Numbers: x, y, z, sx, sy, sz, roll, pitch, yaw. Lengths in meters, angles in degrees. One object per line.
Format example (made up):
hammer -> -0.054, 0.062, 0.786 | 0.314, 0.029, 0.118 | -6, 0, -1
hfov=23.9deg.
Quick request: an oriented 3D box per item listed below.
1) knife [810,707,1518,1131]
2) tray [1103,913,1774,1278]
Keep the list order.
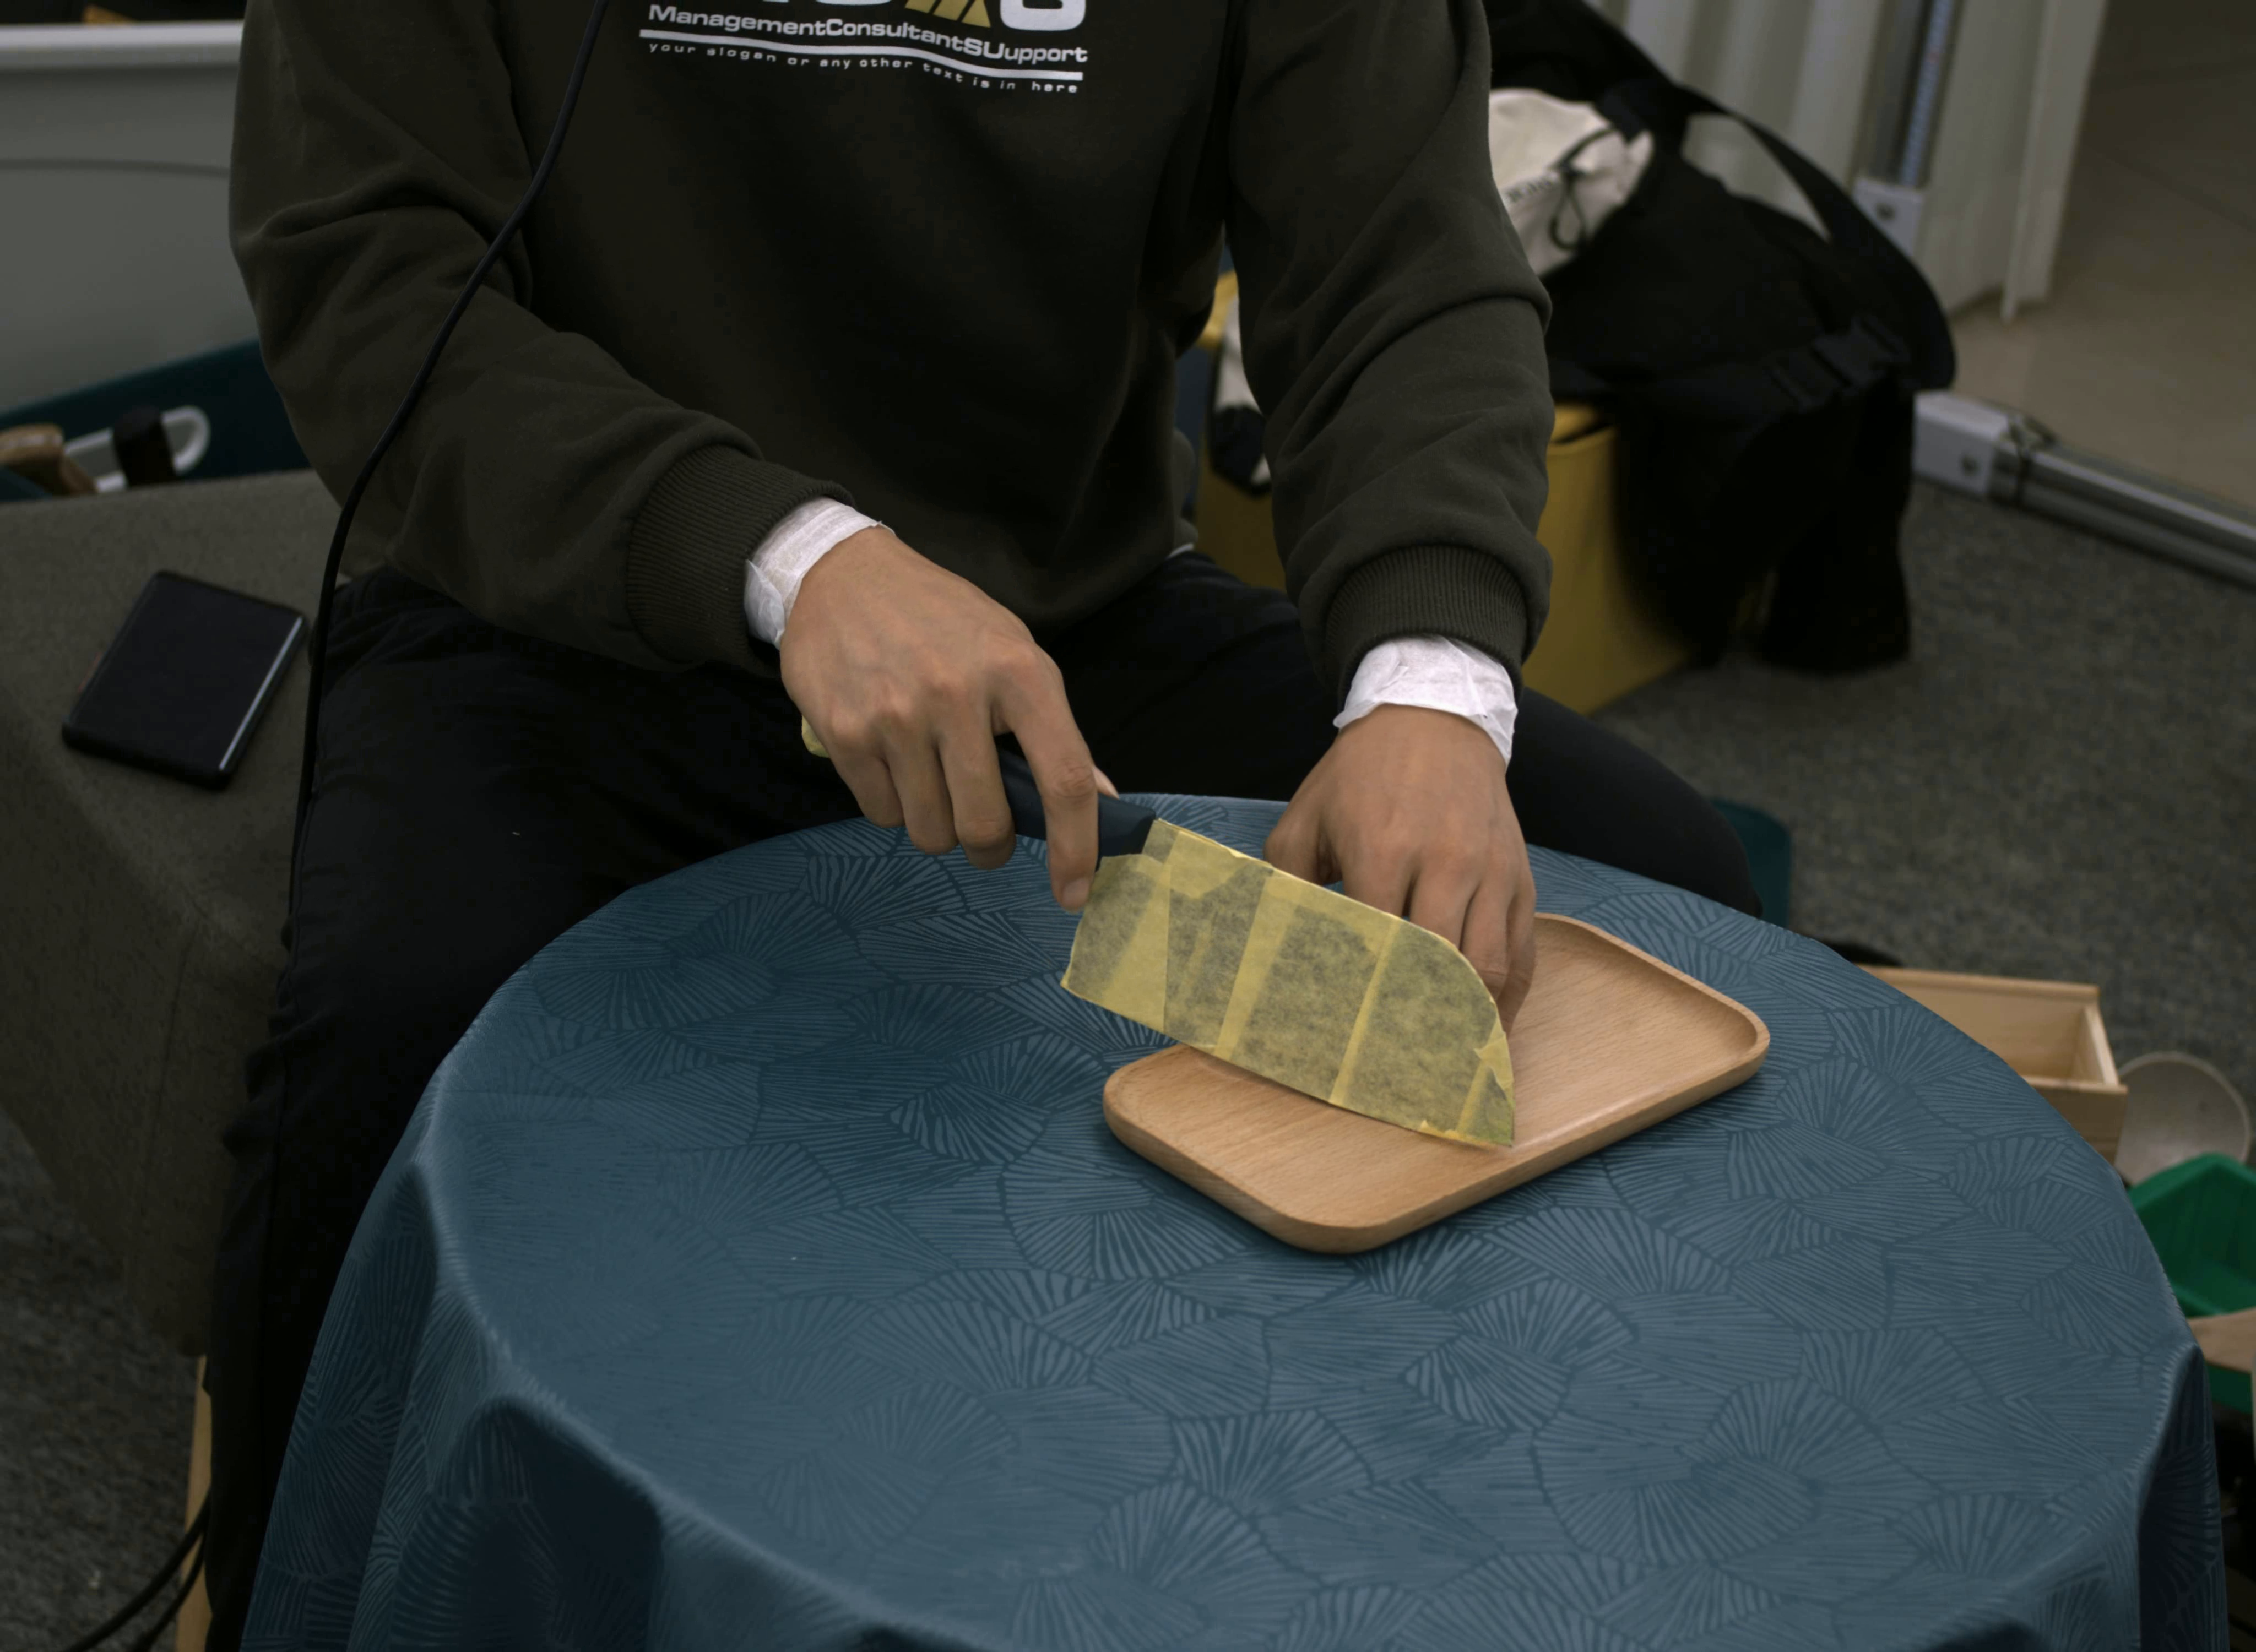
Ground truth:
knife -> 0.009, 0.031, 1.870 | 0.290, 0.081, 0.027 | 26, 15, 18
tray -> 0.112, 0.093, 1.881 | 0.249, 0.023, 0.131 | -23, 35, -39
